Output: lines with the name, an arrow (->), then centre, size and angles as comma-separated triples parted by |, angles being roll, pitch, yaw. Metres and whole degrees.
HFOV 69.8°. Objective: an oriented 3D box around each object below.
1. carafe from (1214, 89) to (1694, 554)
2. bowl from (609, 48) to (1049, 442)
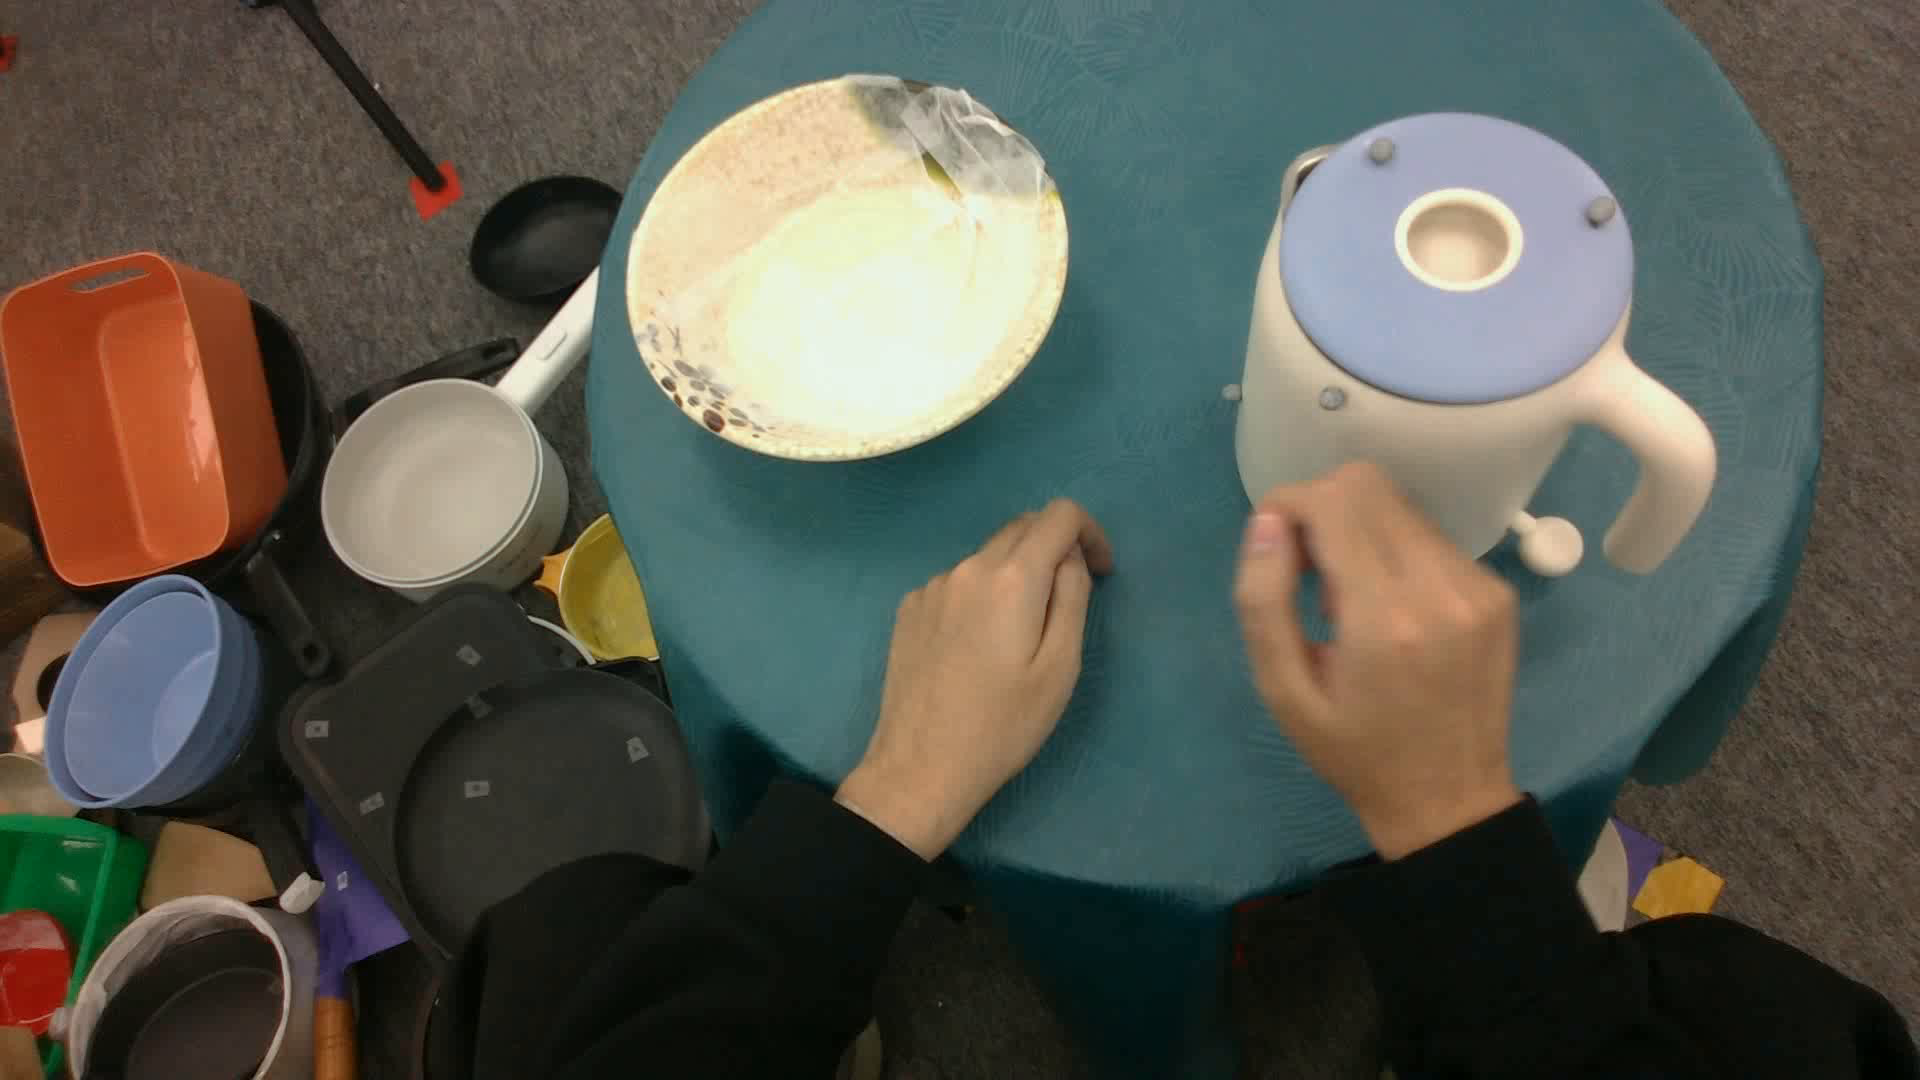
carafe -> 0.194, -0.067, 0.554 | 0.191, 0.182, 0.132 | 36, 78, 16
bowl -> -0.057, -0.127, 0.657 | 0.204, 0.078, 0.204 | -2, 70, 7
